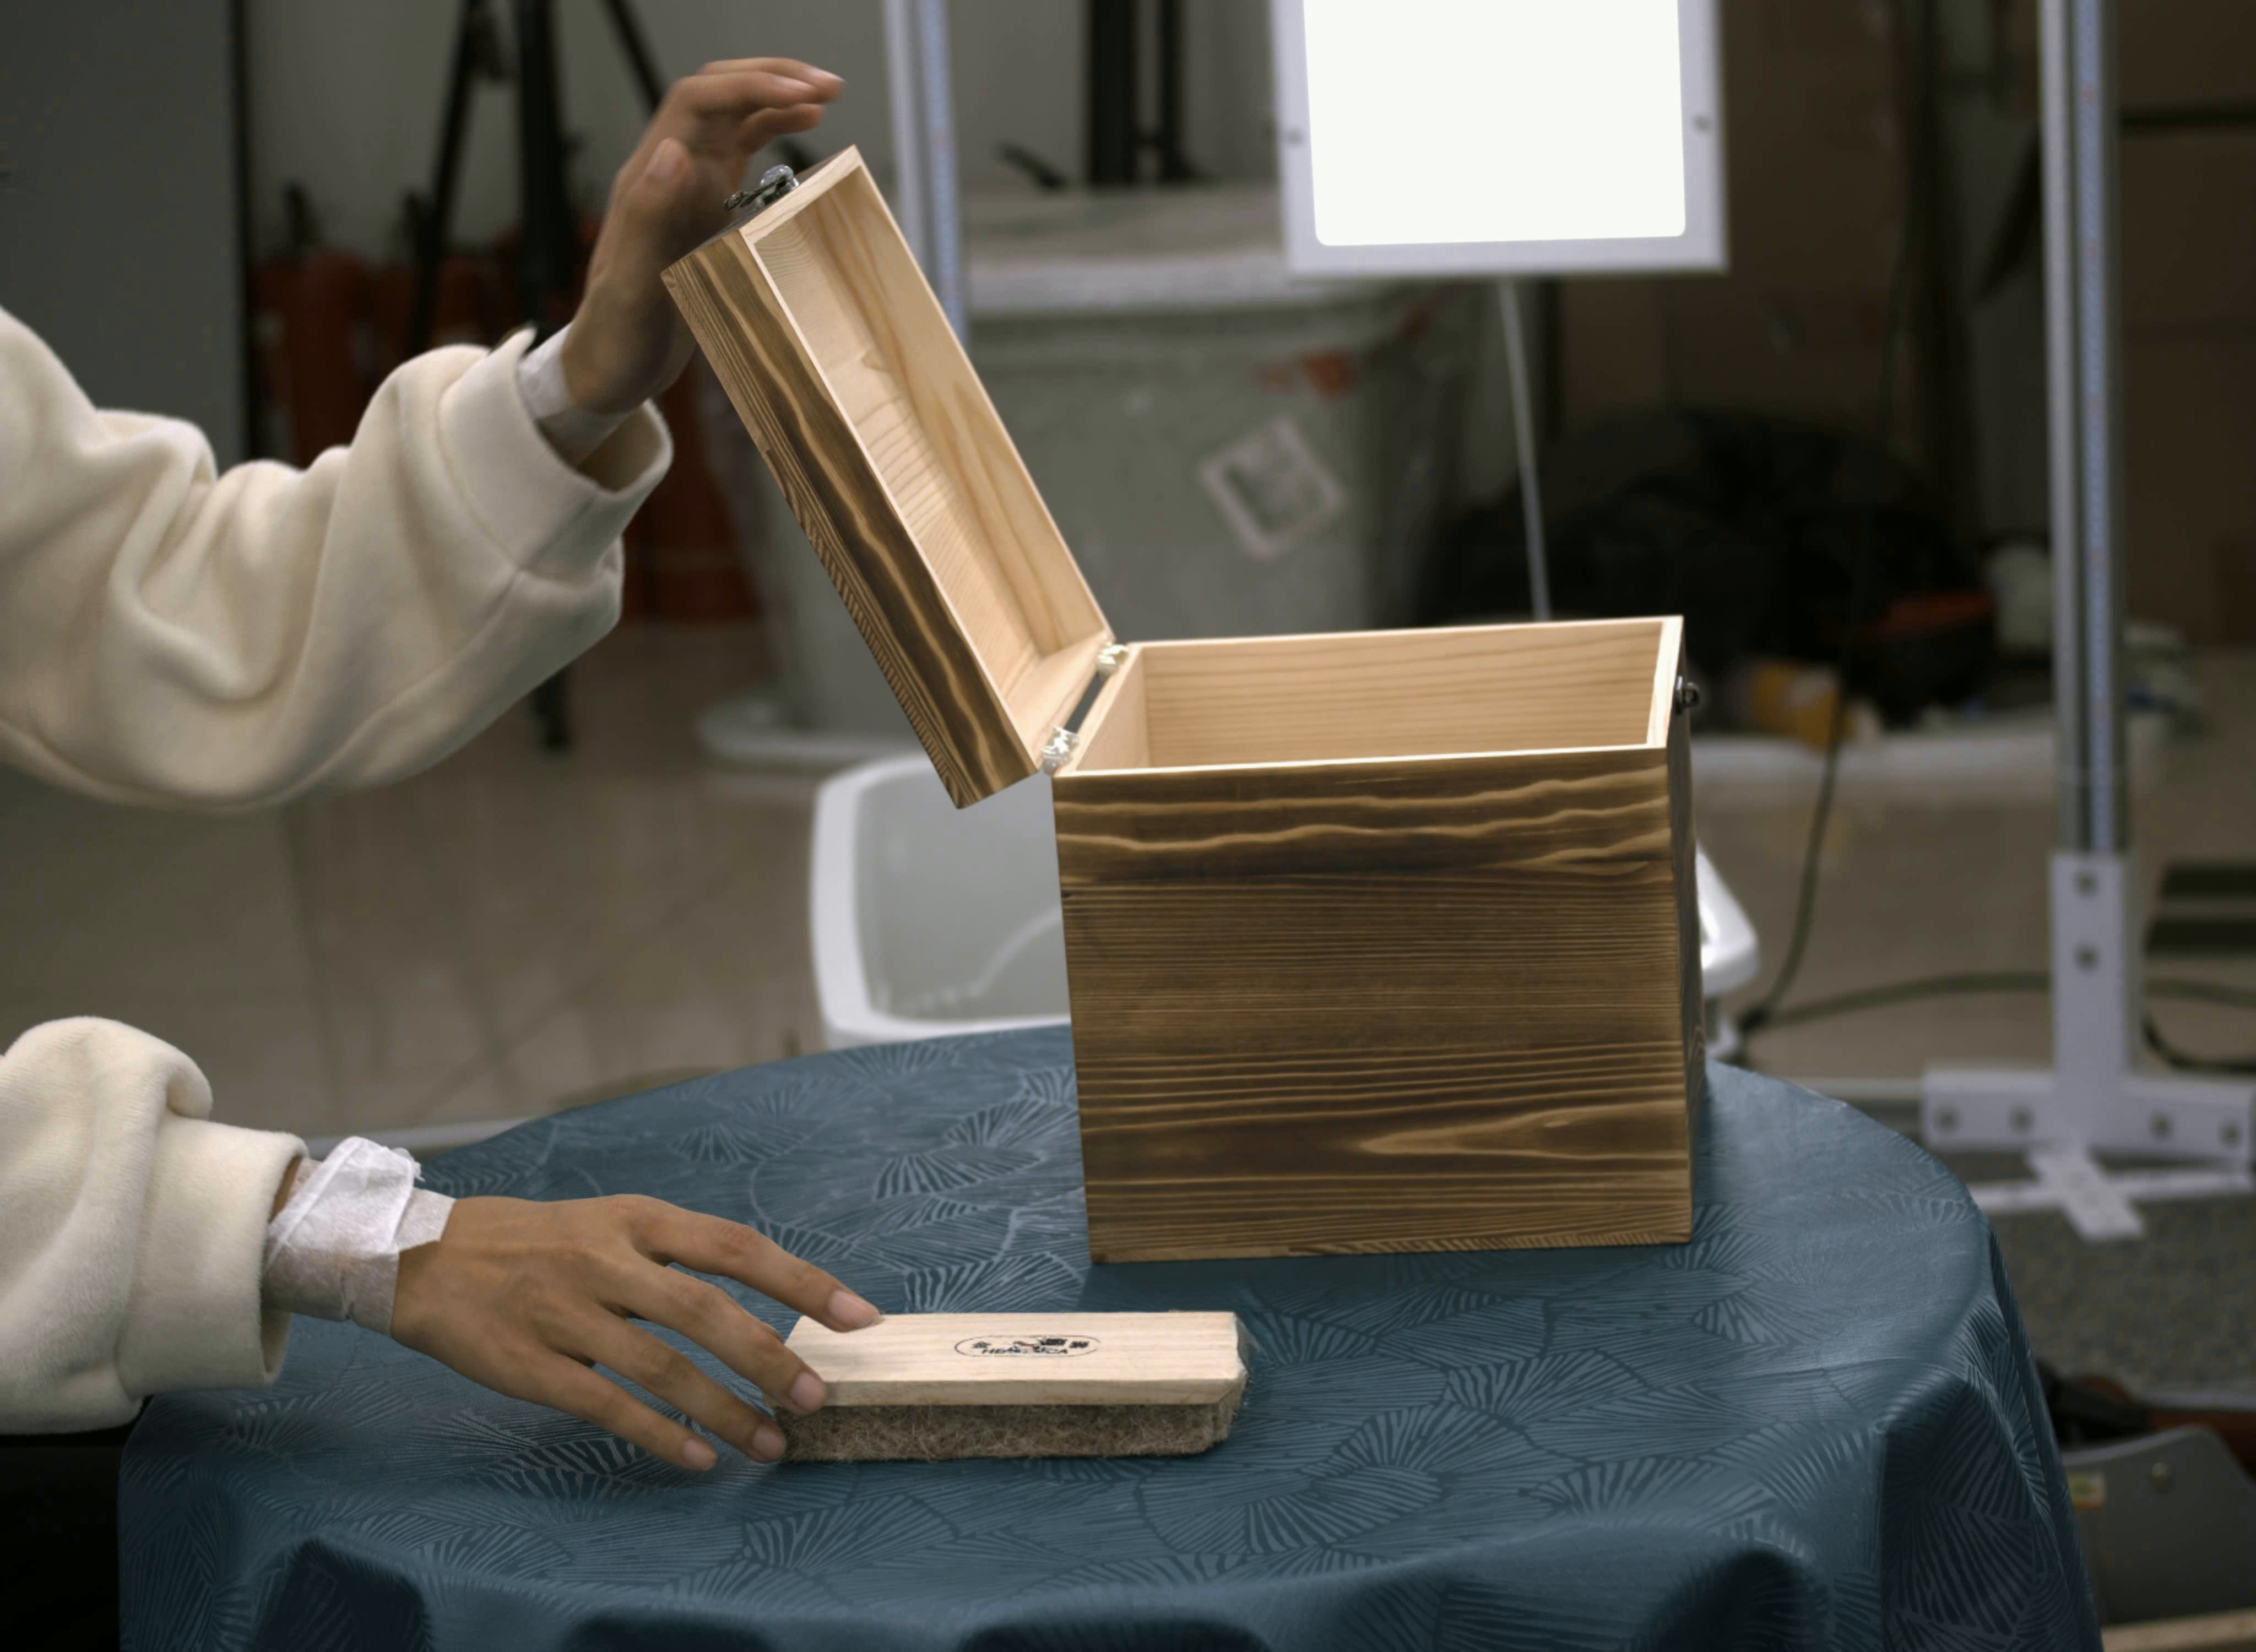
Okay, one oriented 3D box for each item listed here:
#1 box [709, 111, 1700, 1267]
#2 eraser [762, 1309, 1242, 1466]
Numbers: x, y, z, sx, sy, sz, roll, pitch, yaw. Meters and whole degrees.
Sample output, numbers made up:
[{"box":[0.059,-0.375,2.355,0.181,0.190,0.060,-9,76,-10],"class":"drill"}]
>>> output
[{"box":[0.034,-0.056,1.865,0.324,0.377,0.207,-2,15,9],"class":"box"},{"box":[-0.037,0.171,1.673,0.140,0.029,0.056,-3,17,14],"class":"eraser"}]
